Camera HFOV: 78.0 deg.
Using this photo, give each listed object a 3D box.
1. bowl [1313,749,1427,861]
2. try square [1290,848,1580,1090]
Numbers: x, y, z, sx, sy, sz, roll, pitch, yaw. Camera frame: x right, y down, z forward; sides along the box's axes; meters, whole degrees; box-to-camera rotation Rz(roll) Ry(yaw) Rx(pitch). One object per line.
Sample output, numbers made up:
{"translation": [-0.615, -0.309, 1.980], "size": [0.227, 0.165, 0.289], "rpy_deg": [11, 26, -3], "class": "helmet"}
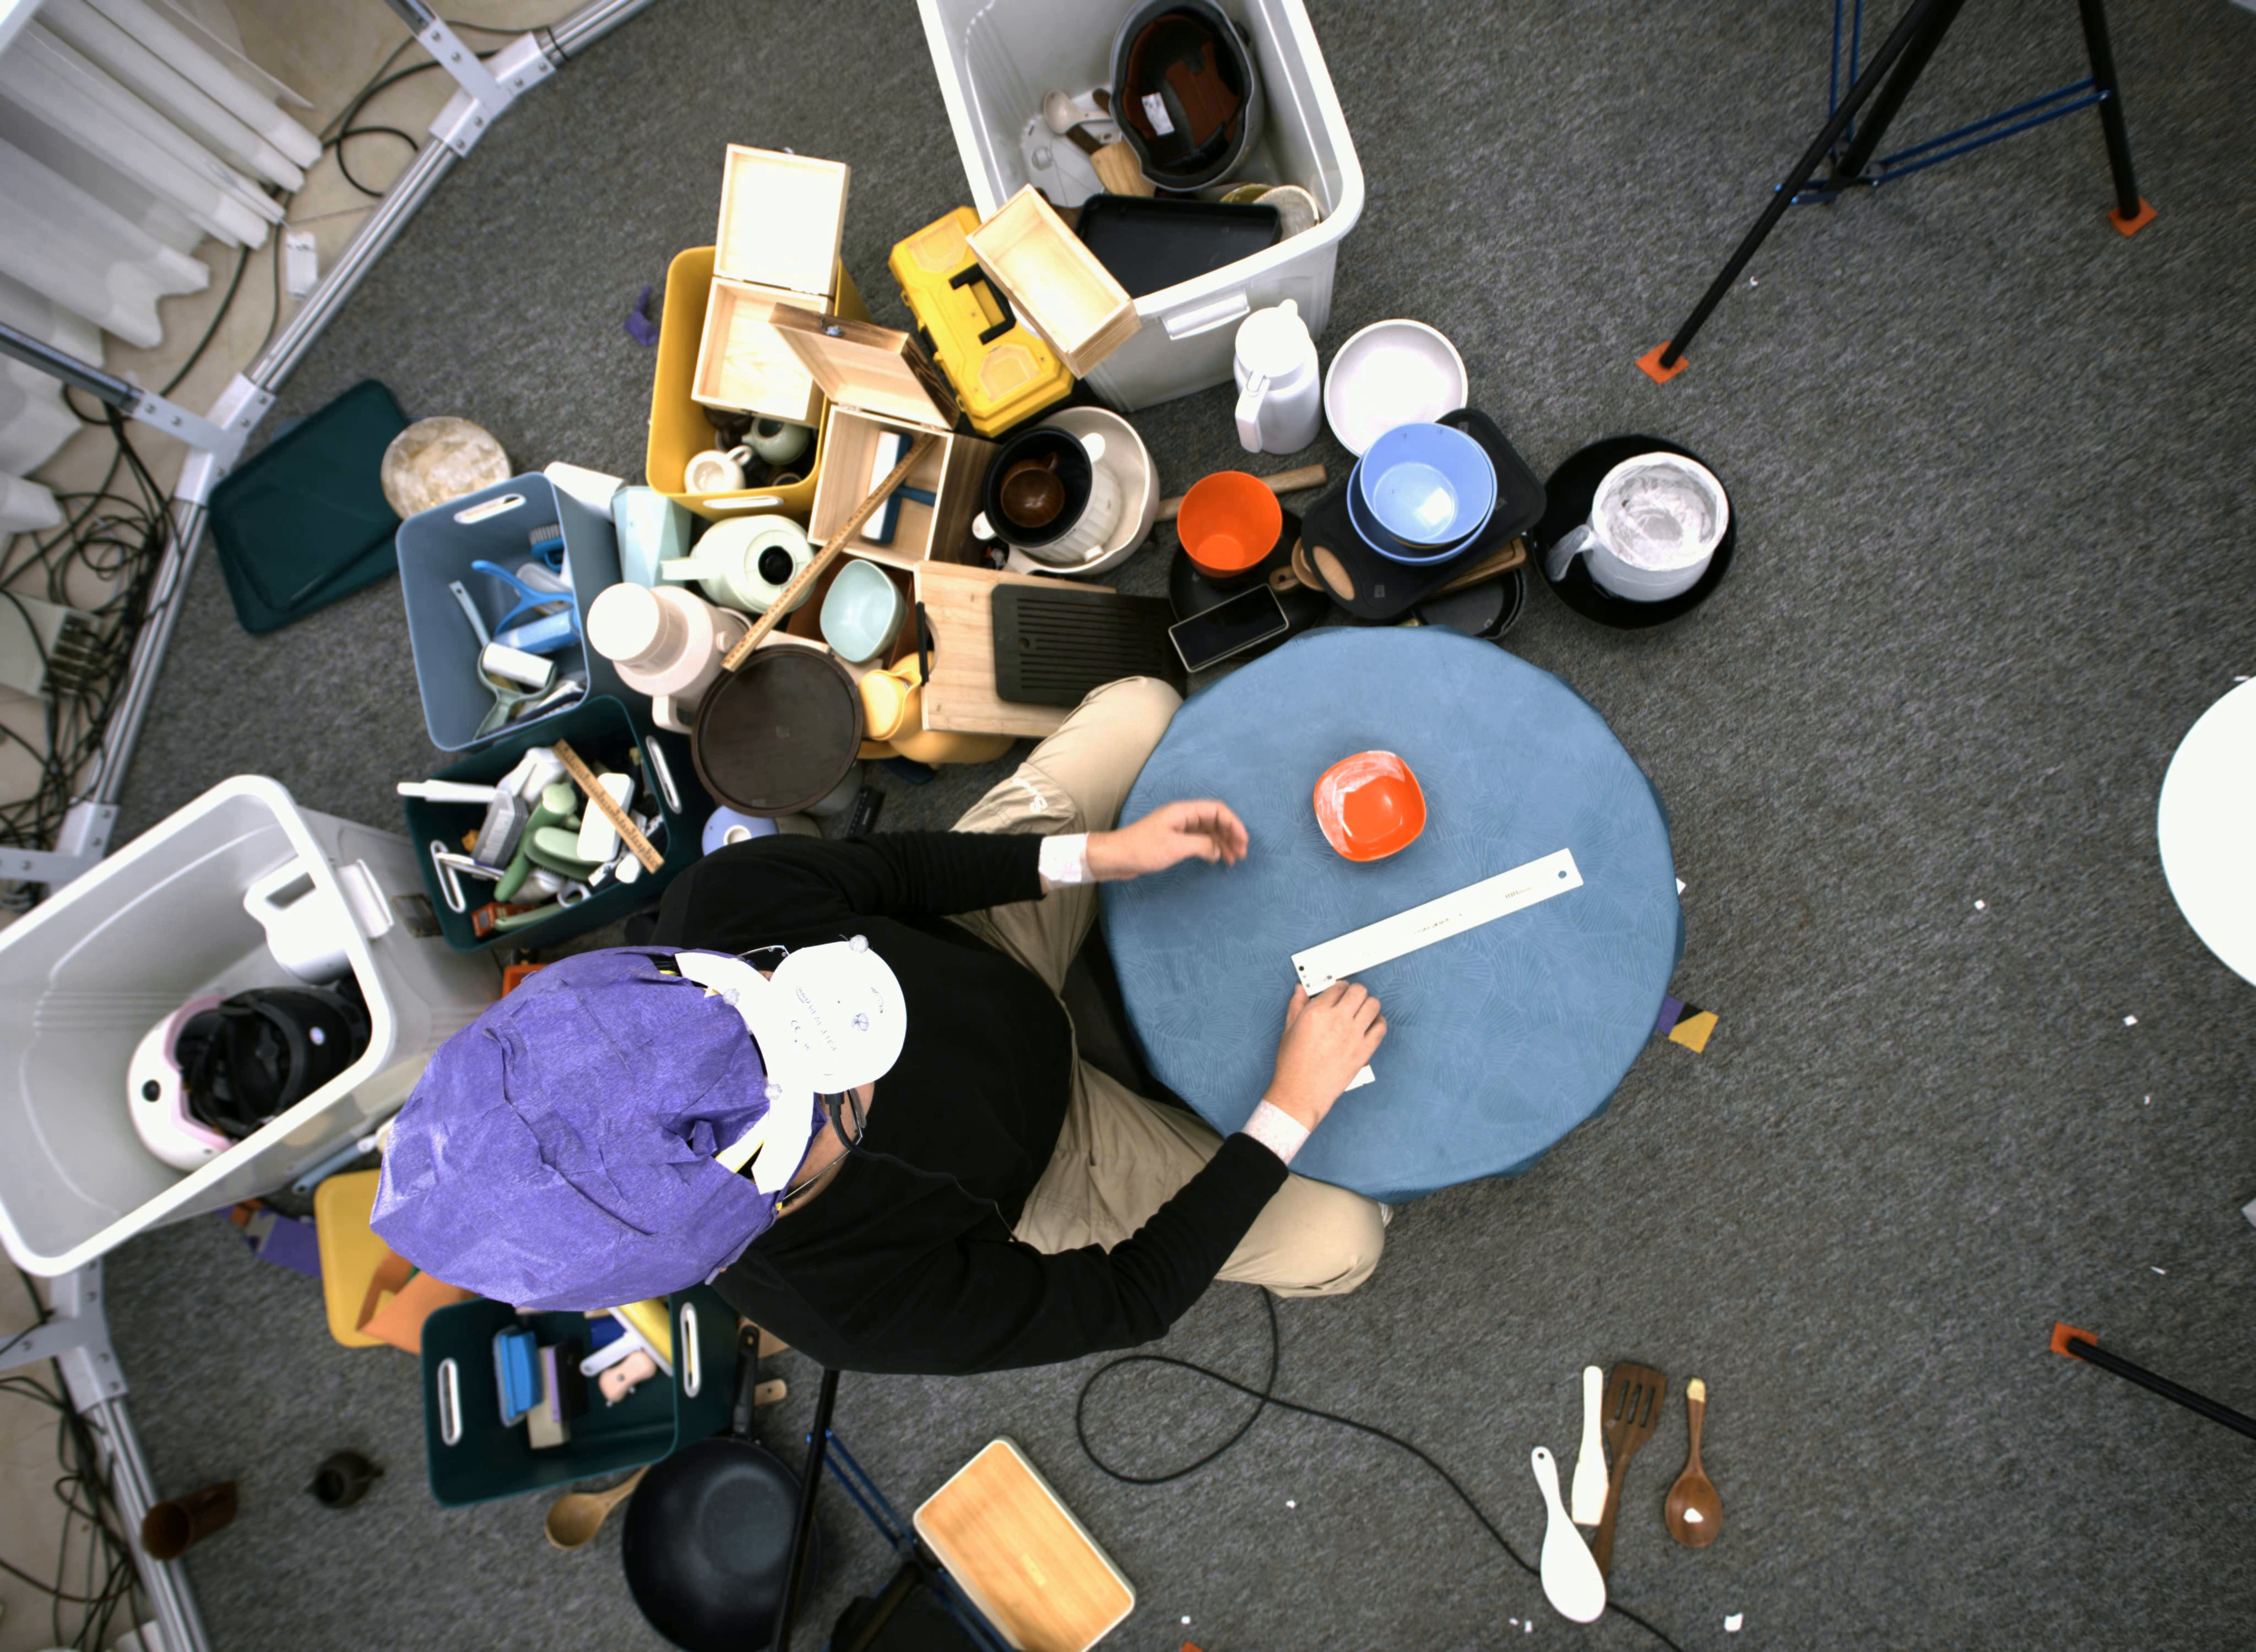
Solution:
{"translation": [0.252, -0.020, 1.442], "size": [0.119, 0.051, 0.118], "rpy_deg": [-1, 87, 9], "class": "bowl"}
{"translation": [0.339, 0.148, 1.441], "size": [0.314, 0.016, 0.151], "rpy_deg": [-22, 85, 7], "class": "try square"}
